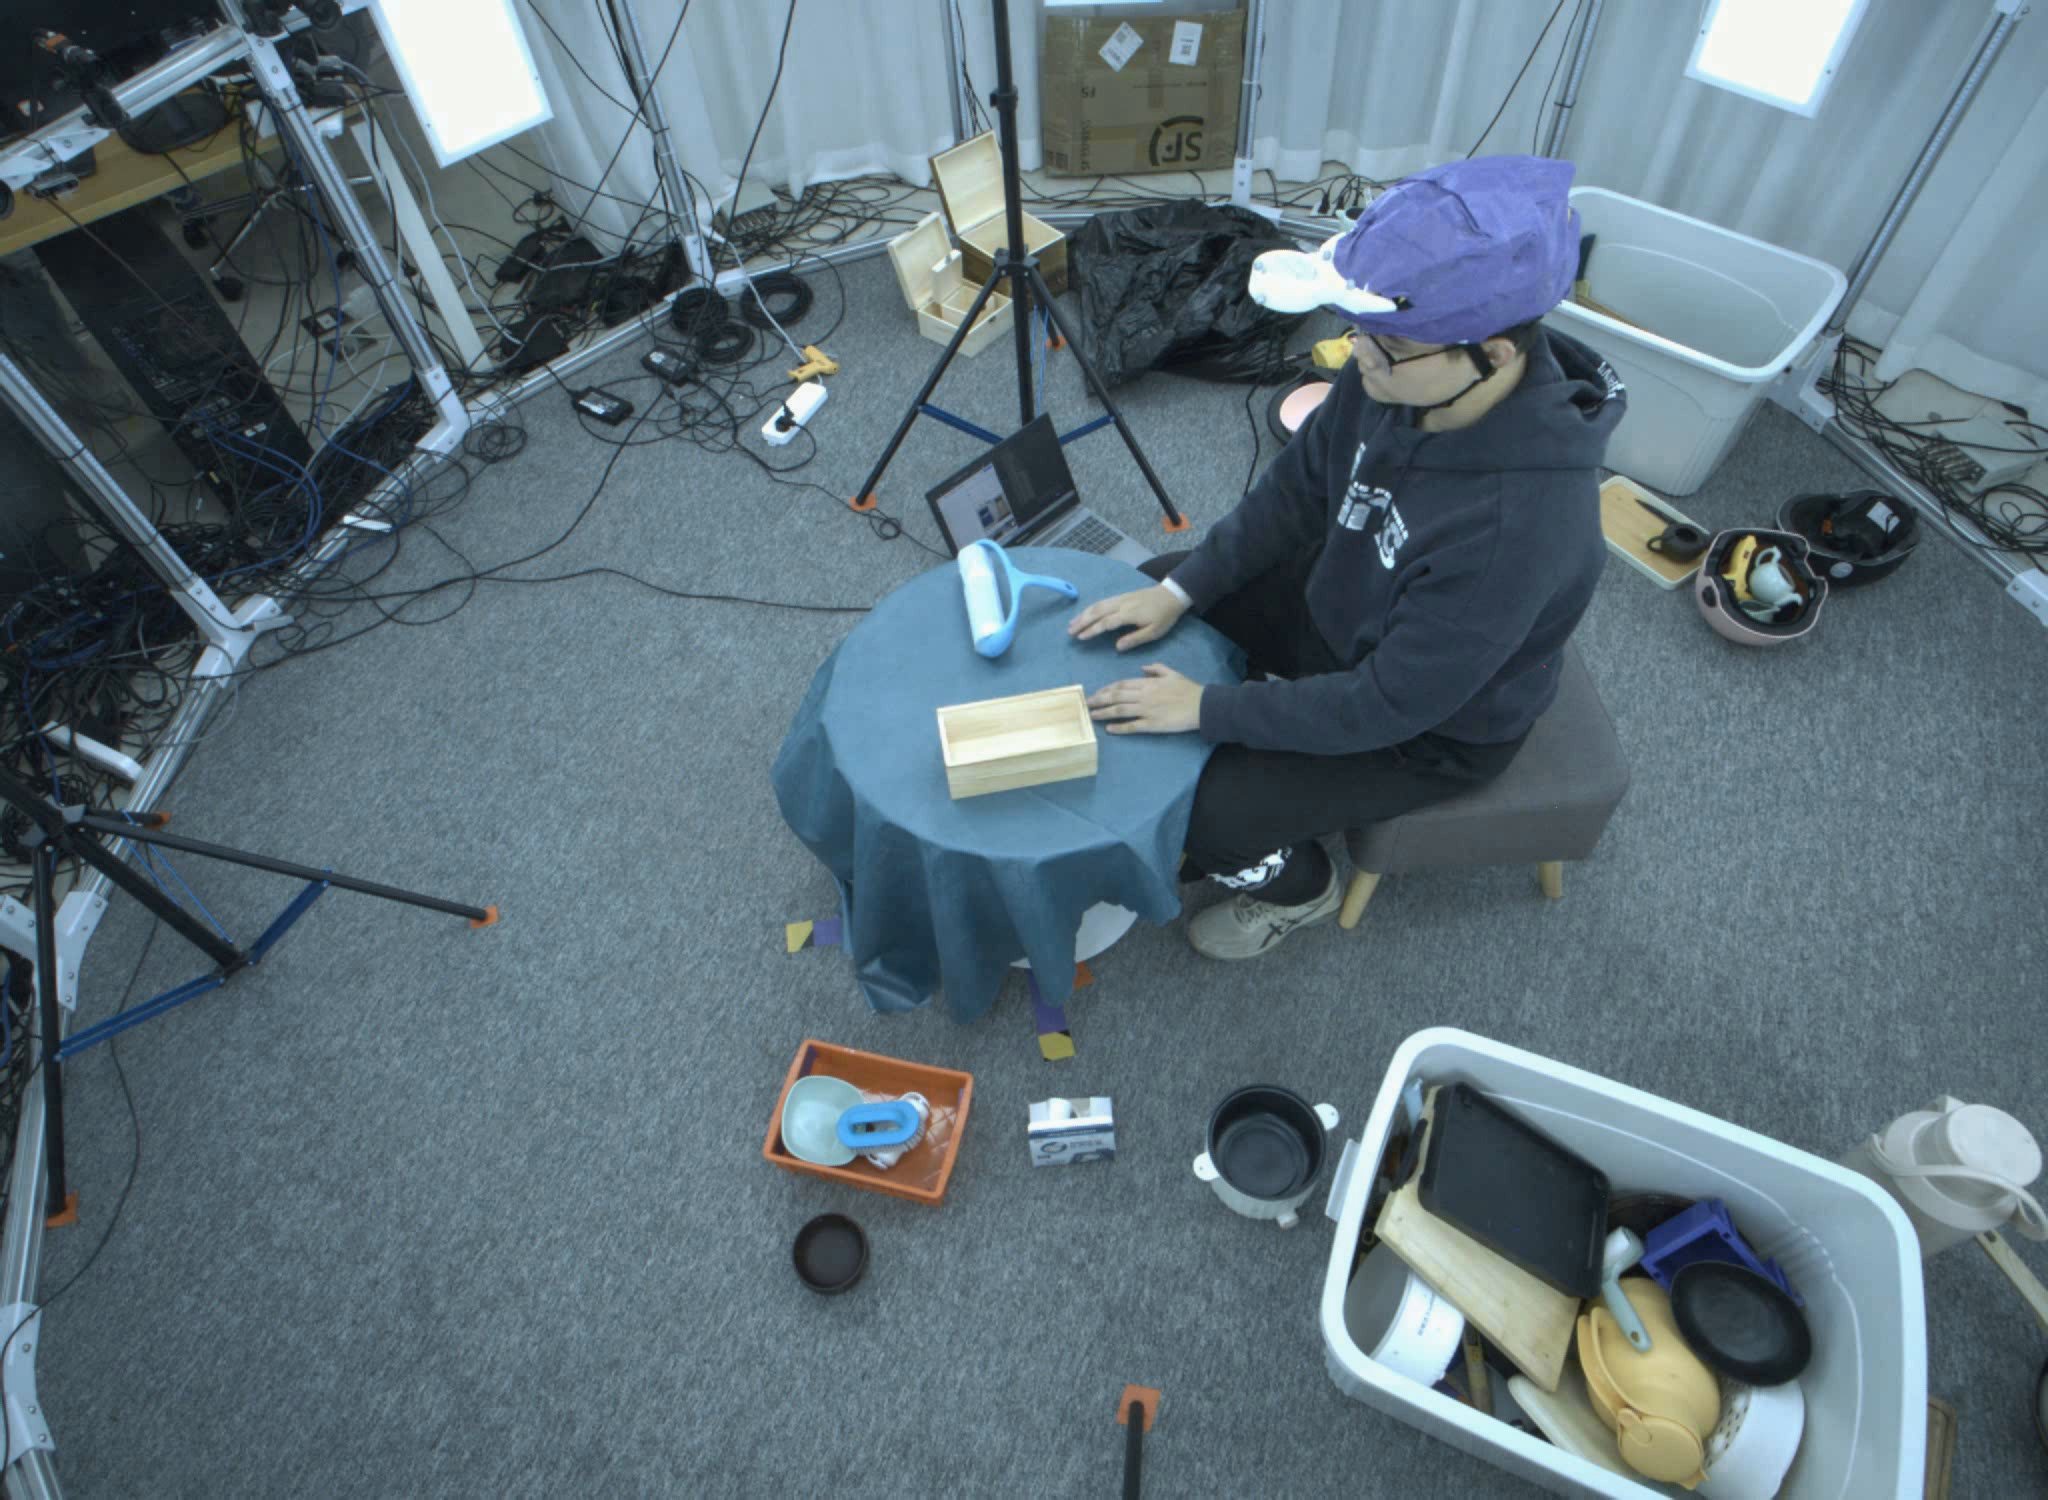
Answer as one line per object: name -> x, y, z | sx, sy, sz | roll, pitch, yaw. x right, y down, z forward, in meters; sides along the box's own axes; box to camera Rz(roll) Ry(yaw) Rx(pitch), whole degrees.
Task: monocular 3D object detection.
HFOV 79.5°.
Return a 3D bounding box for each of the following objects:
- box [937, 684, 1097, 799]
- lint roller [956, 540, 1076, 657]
box -> -0.010, -0.012, 1.748 | 0.212, 0.081, 0.106 | -10, 55, -6
lint roller -> -0.010, -0.250, 1.927 | 0.181, 0.069, 0.225 | -12, 54, -5
